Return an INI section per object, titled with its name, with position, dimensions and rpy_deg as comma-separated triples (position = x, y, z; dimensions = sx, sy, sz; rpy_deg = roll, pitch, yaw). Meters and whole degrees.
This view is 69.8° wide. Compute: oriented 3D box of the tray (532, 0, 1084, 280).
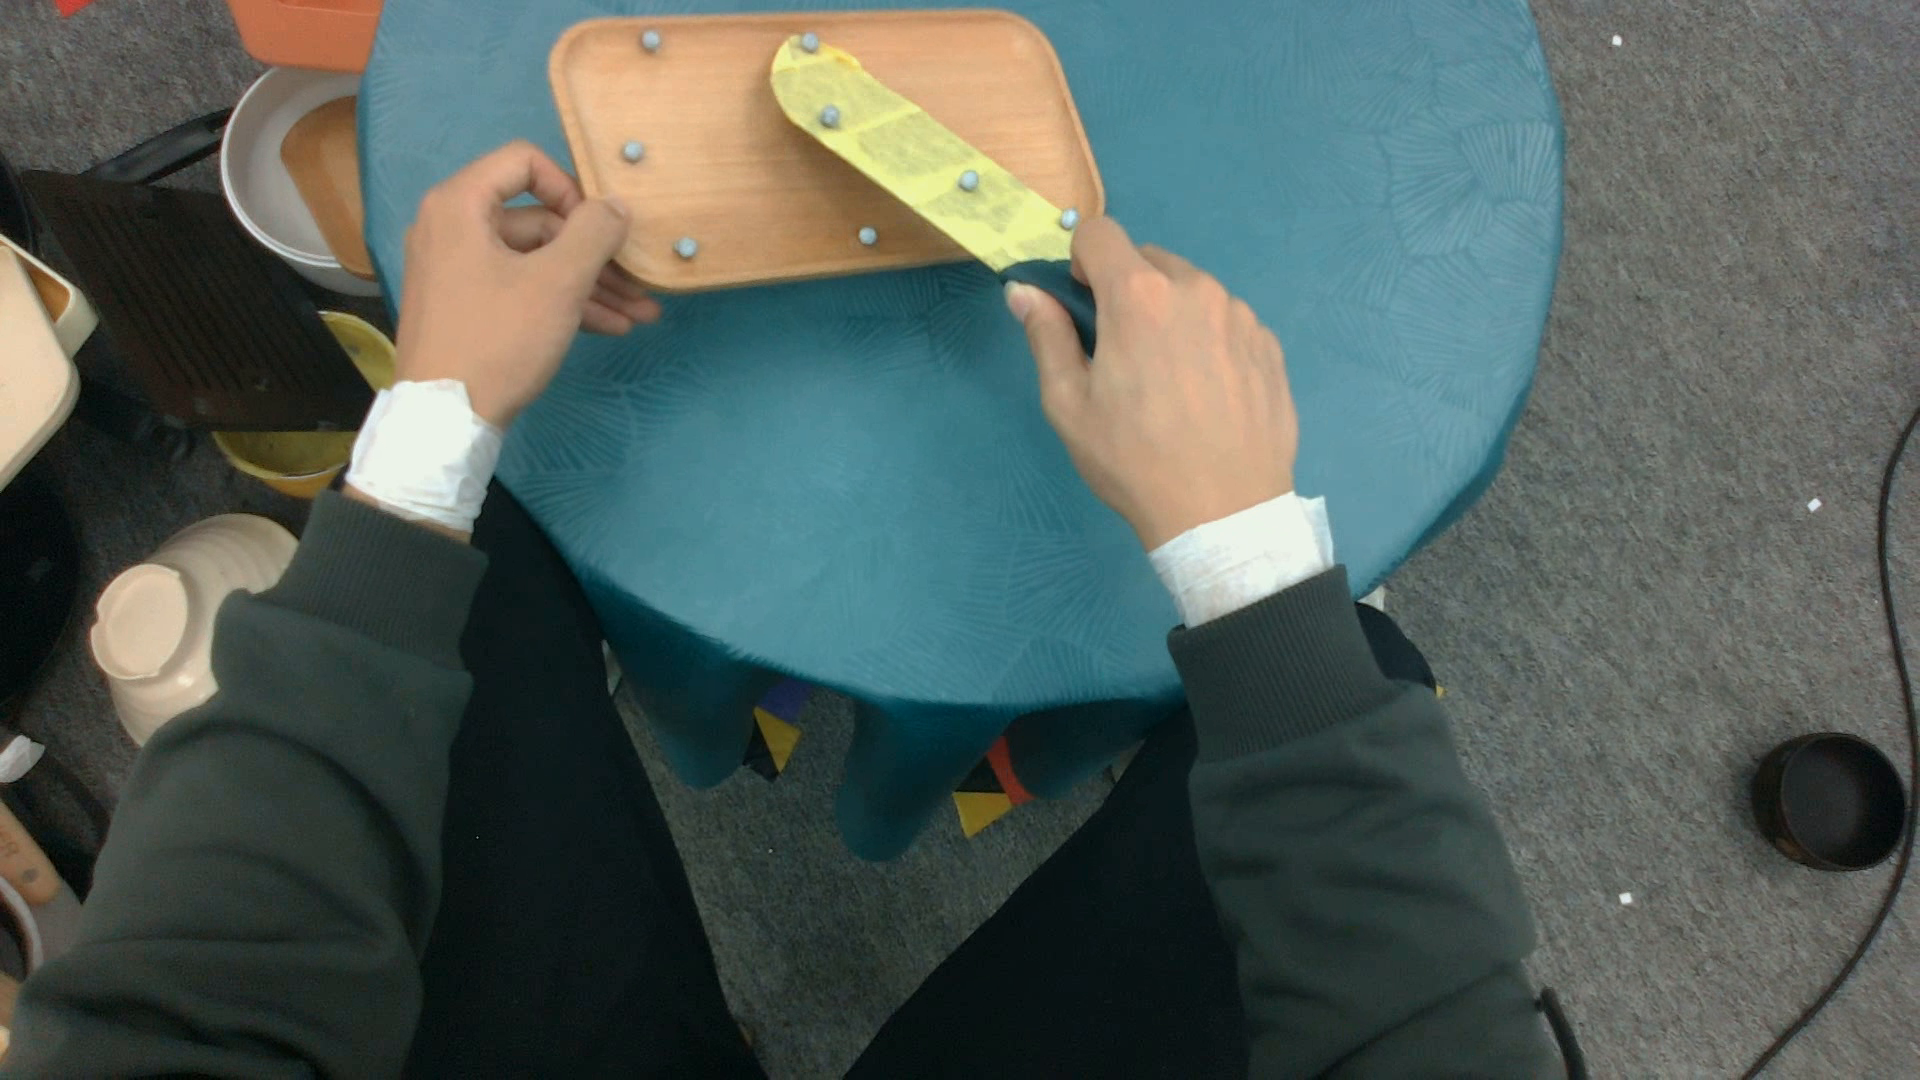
[tray]
position = -0.061, -0.189, 0.631
dimensions = 0.251, 0.023, 0.130
rpy_deg = -13, 81, -29

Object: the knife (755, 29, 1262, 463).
[knife]
position = 0.018, -0.134, 0.590
dimensions = 0.289, 0.027, 0.081
rpy_deg = 42, 40, 11
